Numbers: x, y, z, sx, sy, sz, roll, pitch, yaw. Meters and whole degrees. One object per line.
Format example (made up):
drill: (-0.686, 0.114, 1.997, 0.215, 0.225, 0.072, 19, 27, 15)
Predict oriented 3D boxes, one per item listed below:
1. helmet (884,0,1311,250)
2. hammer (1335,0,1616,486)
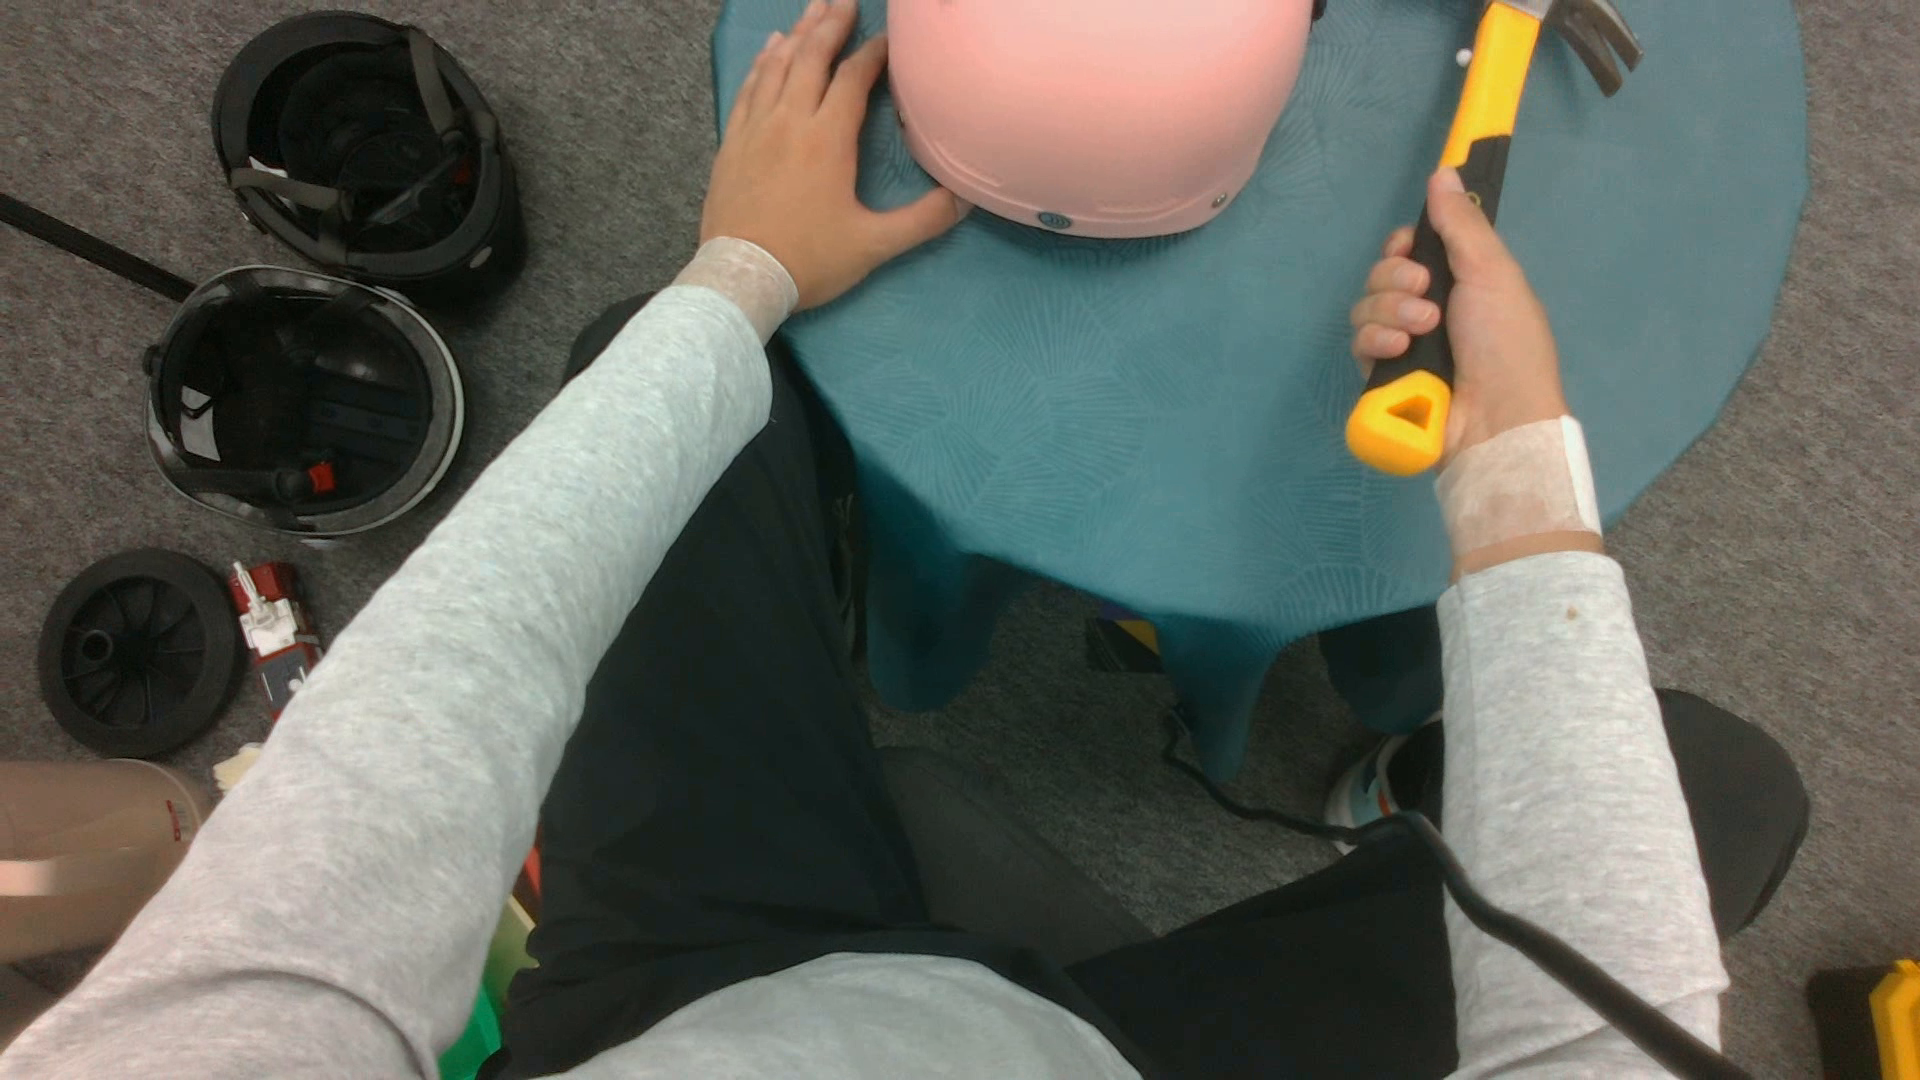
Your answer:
helmet: (0.071, -0.292, 0.709, 0.234, 0.158, 0.266, 12, 77, 3)
hammer: (0.246, -0.173, 0.695, 0.131, 0.032, 0.340, 22, 64, 2)
